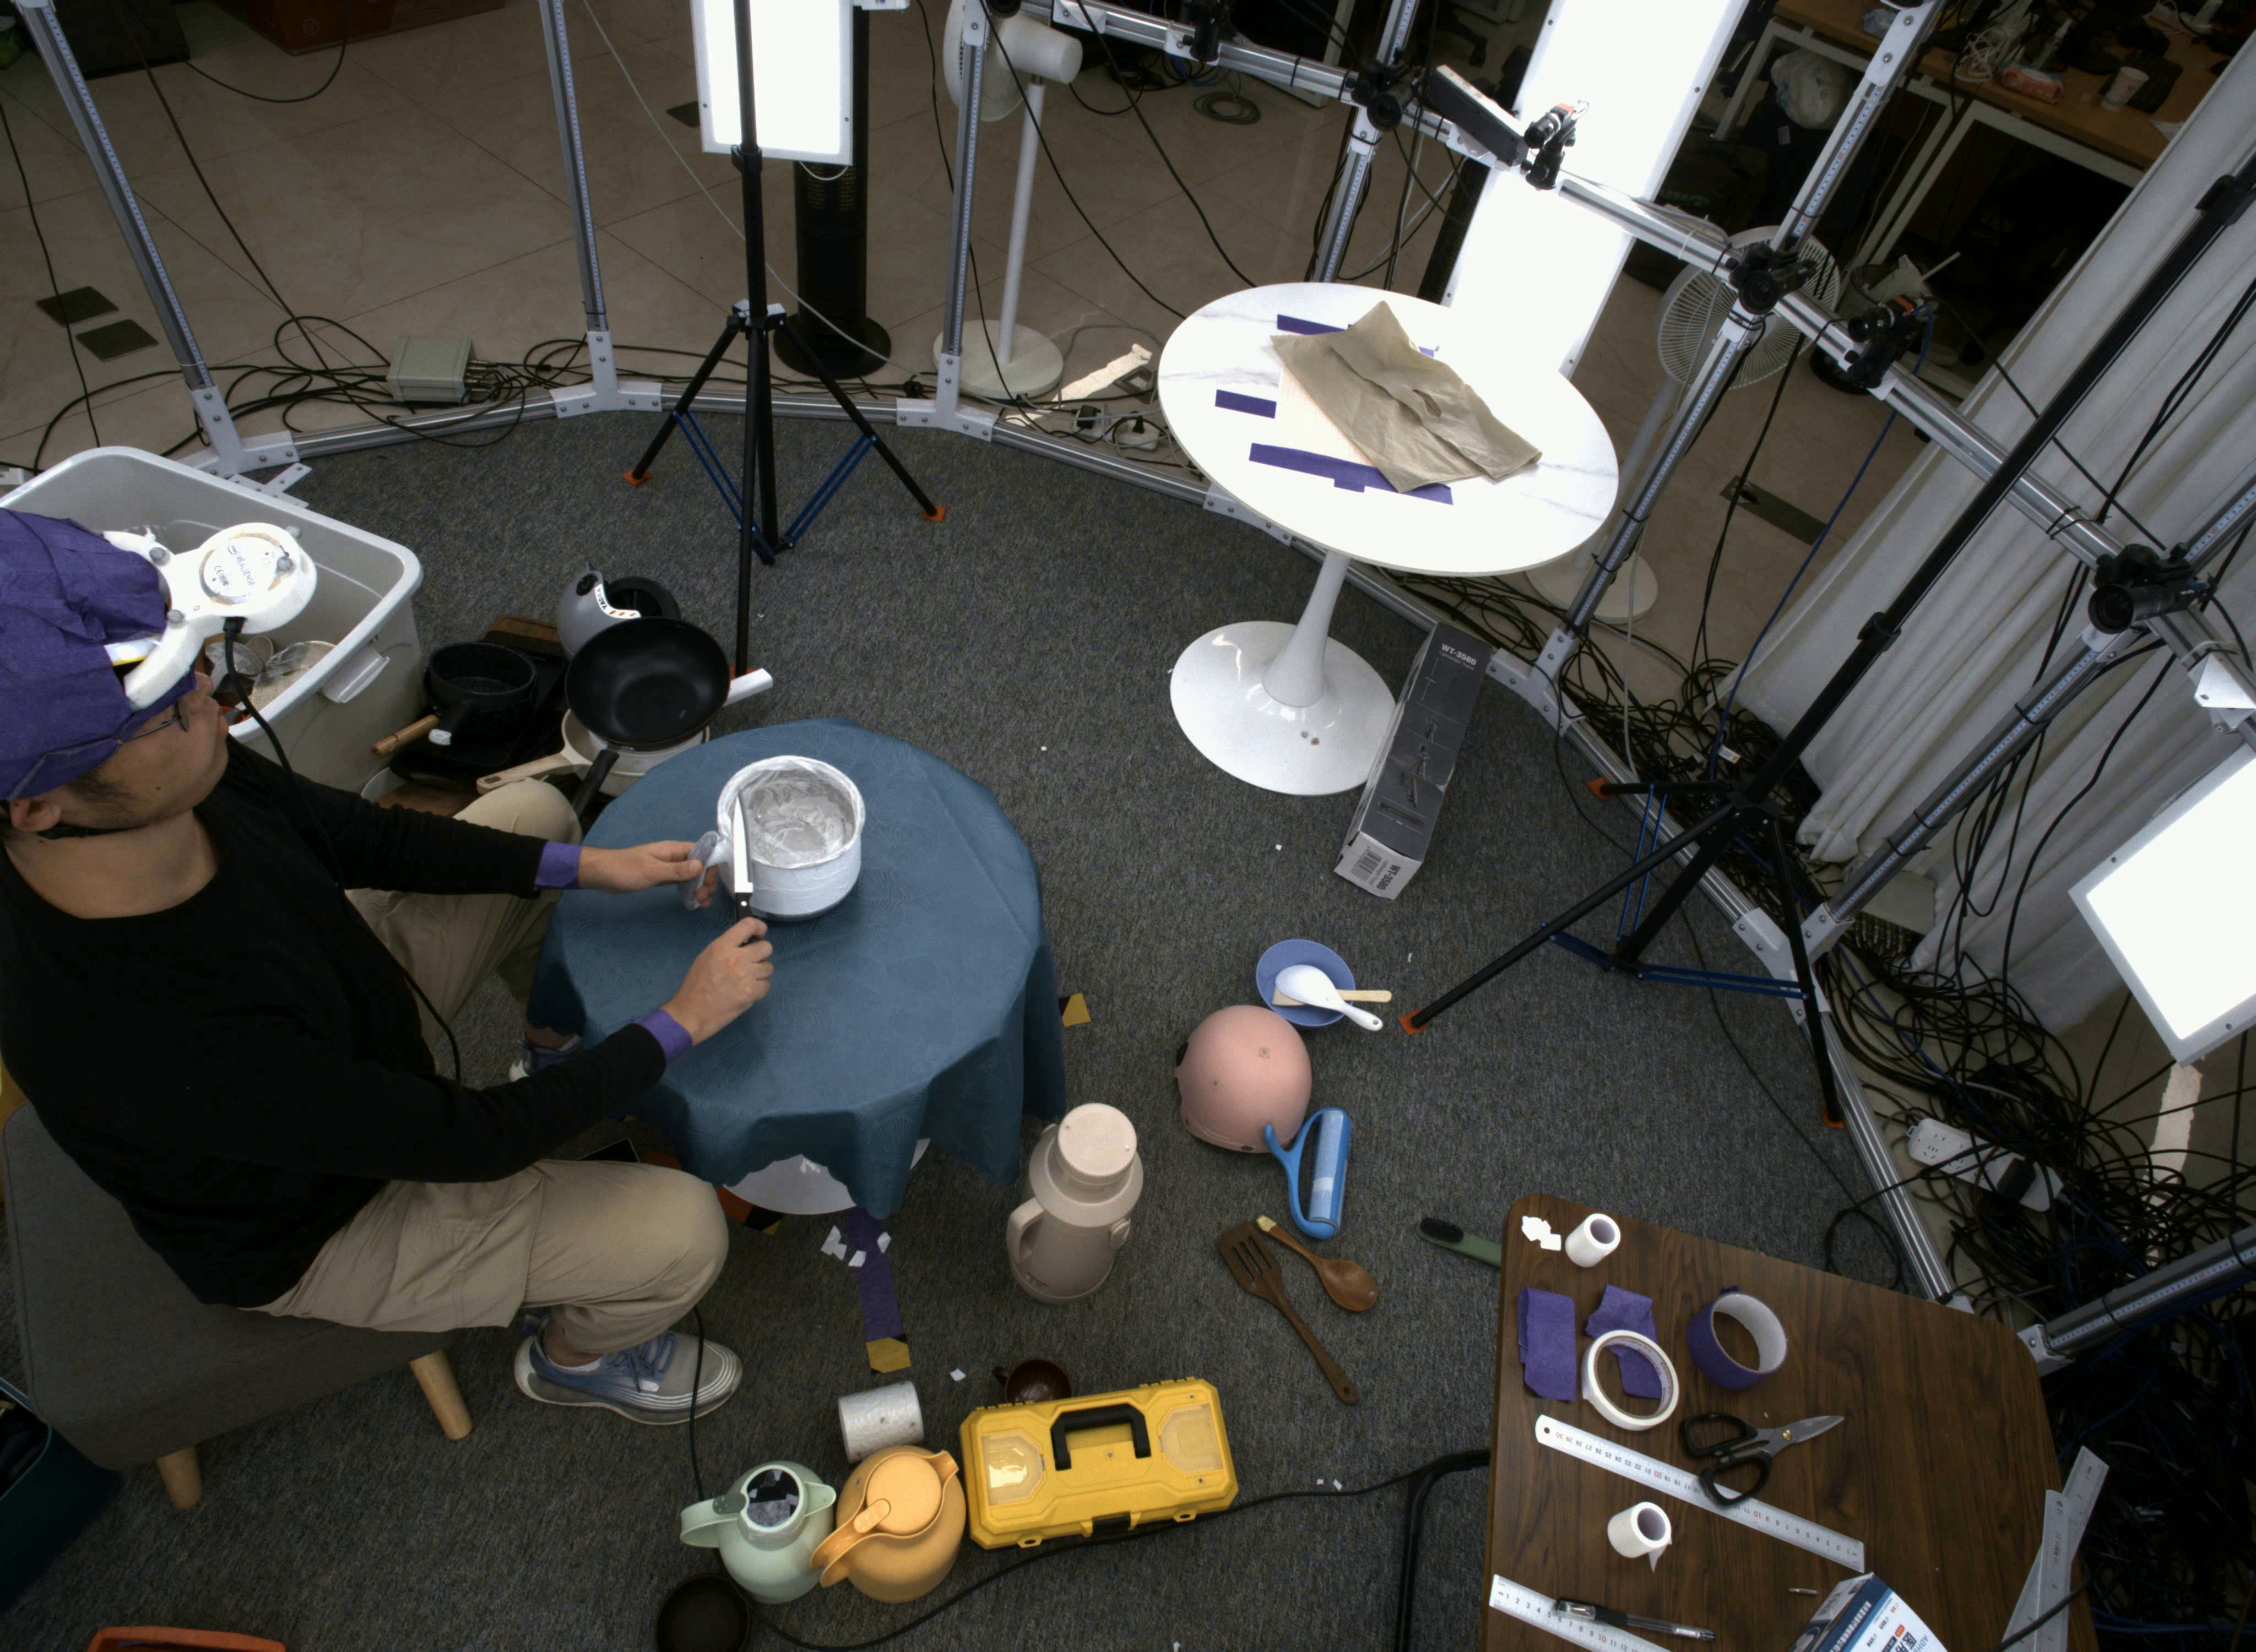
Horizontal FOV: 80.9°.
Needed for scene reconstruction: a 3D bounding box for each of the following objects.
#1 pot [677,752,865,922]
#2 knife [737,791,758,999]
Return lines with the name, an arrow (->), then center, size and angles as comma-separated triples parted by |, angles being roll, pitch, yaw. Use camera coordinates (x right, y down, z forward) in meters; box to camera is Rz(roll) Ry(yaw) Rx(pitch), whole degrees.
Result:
pot -> -0.443, 0.026, 1.601 | 0.235, 0.139, 0.174 | -22, 60, -32
knife -> -0.442, 0.077, 1.501 | 0.025, 0.016, 0.239 | 4, 82, -39
